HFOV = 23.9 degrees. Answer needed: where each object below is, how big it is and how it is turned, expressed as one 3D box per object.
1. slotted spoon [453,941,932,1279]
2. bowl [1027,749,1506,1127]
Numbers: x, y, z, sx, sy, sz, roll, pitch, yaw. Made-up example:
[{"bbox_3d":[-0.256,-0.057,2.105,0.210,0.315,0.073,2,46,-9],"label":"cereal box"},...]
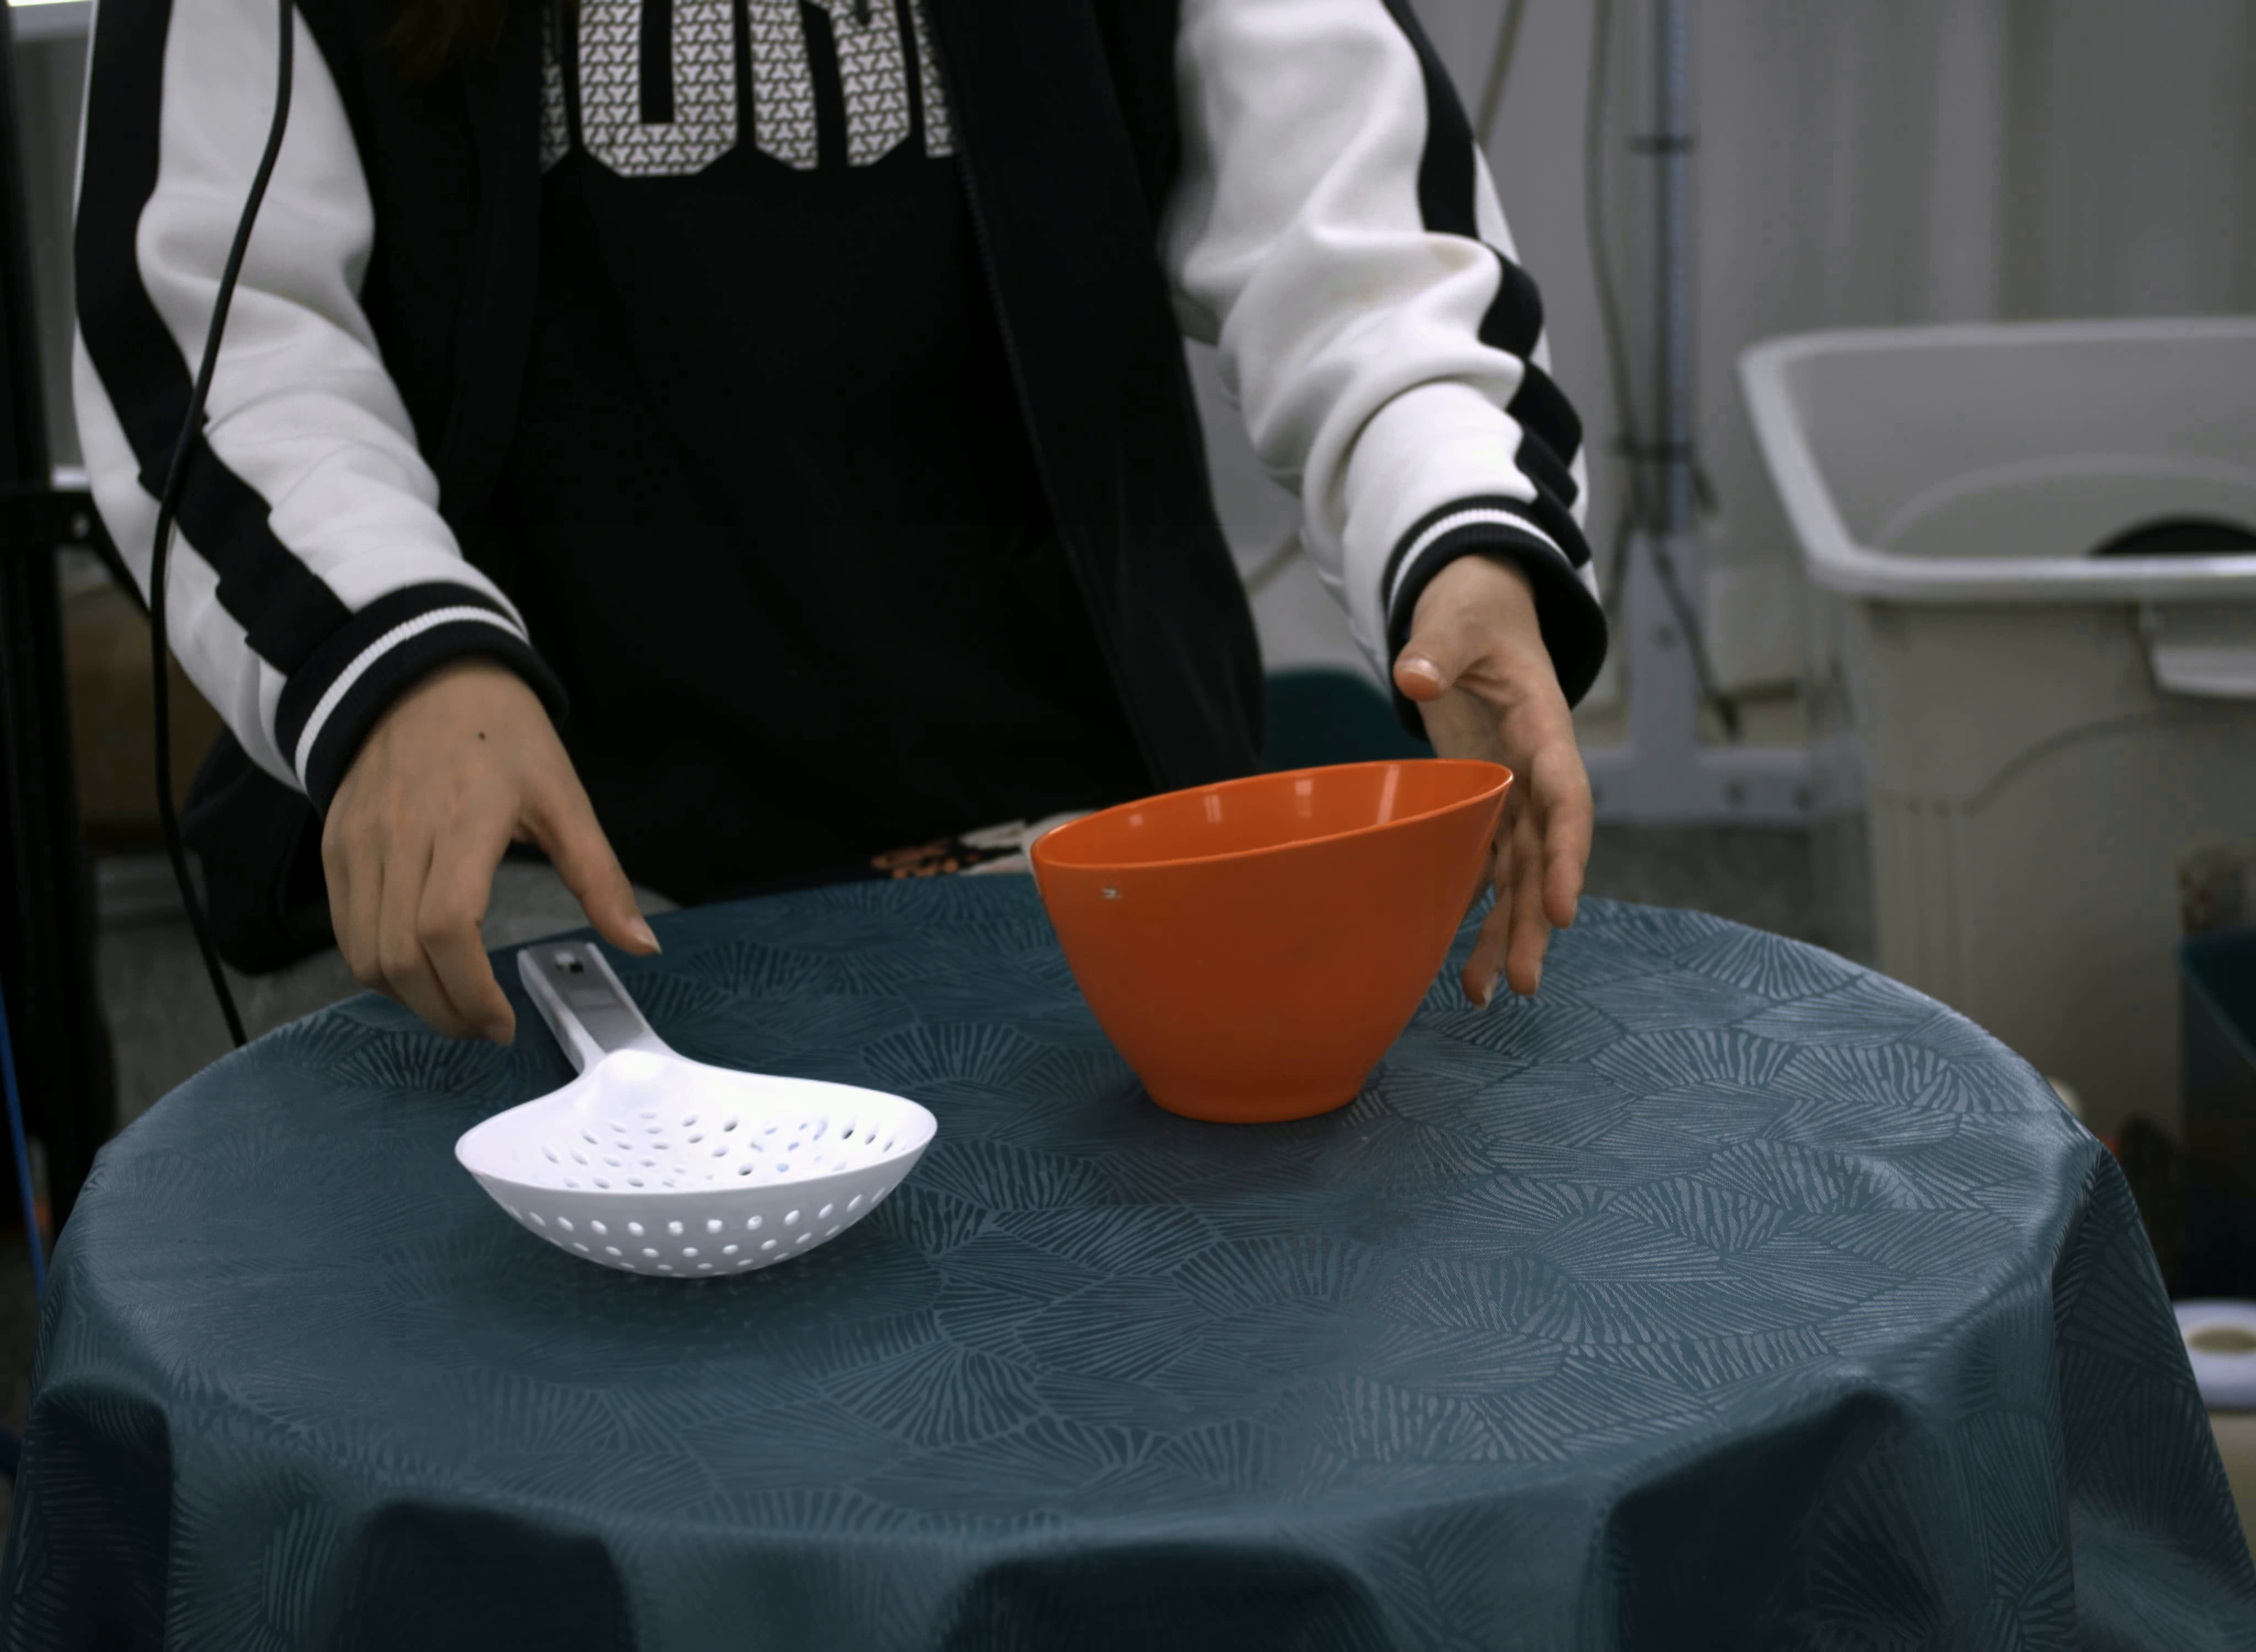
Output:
[{"bbox_3d":[-0.148,0.076,1.611,0.134,0.046,0.354,-4,15,-13],"label":"slotted spoon"},{"bbox_3d":[0.045,0.035,1.621,0.147,0.104,0.149,-5,17,0],"label":"bowl"}]
